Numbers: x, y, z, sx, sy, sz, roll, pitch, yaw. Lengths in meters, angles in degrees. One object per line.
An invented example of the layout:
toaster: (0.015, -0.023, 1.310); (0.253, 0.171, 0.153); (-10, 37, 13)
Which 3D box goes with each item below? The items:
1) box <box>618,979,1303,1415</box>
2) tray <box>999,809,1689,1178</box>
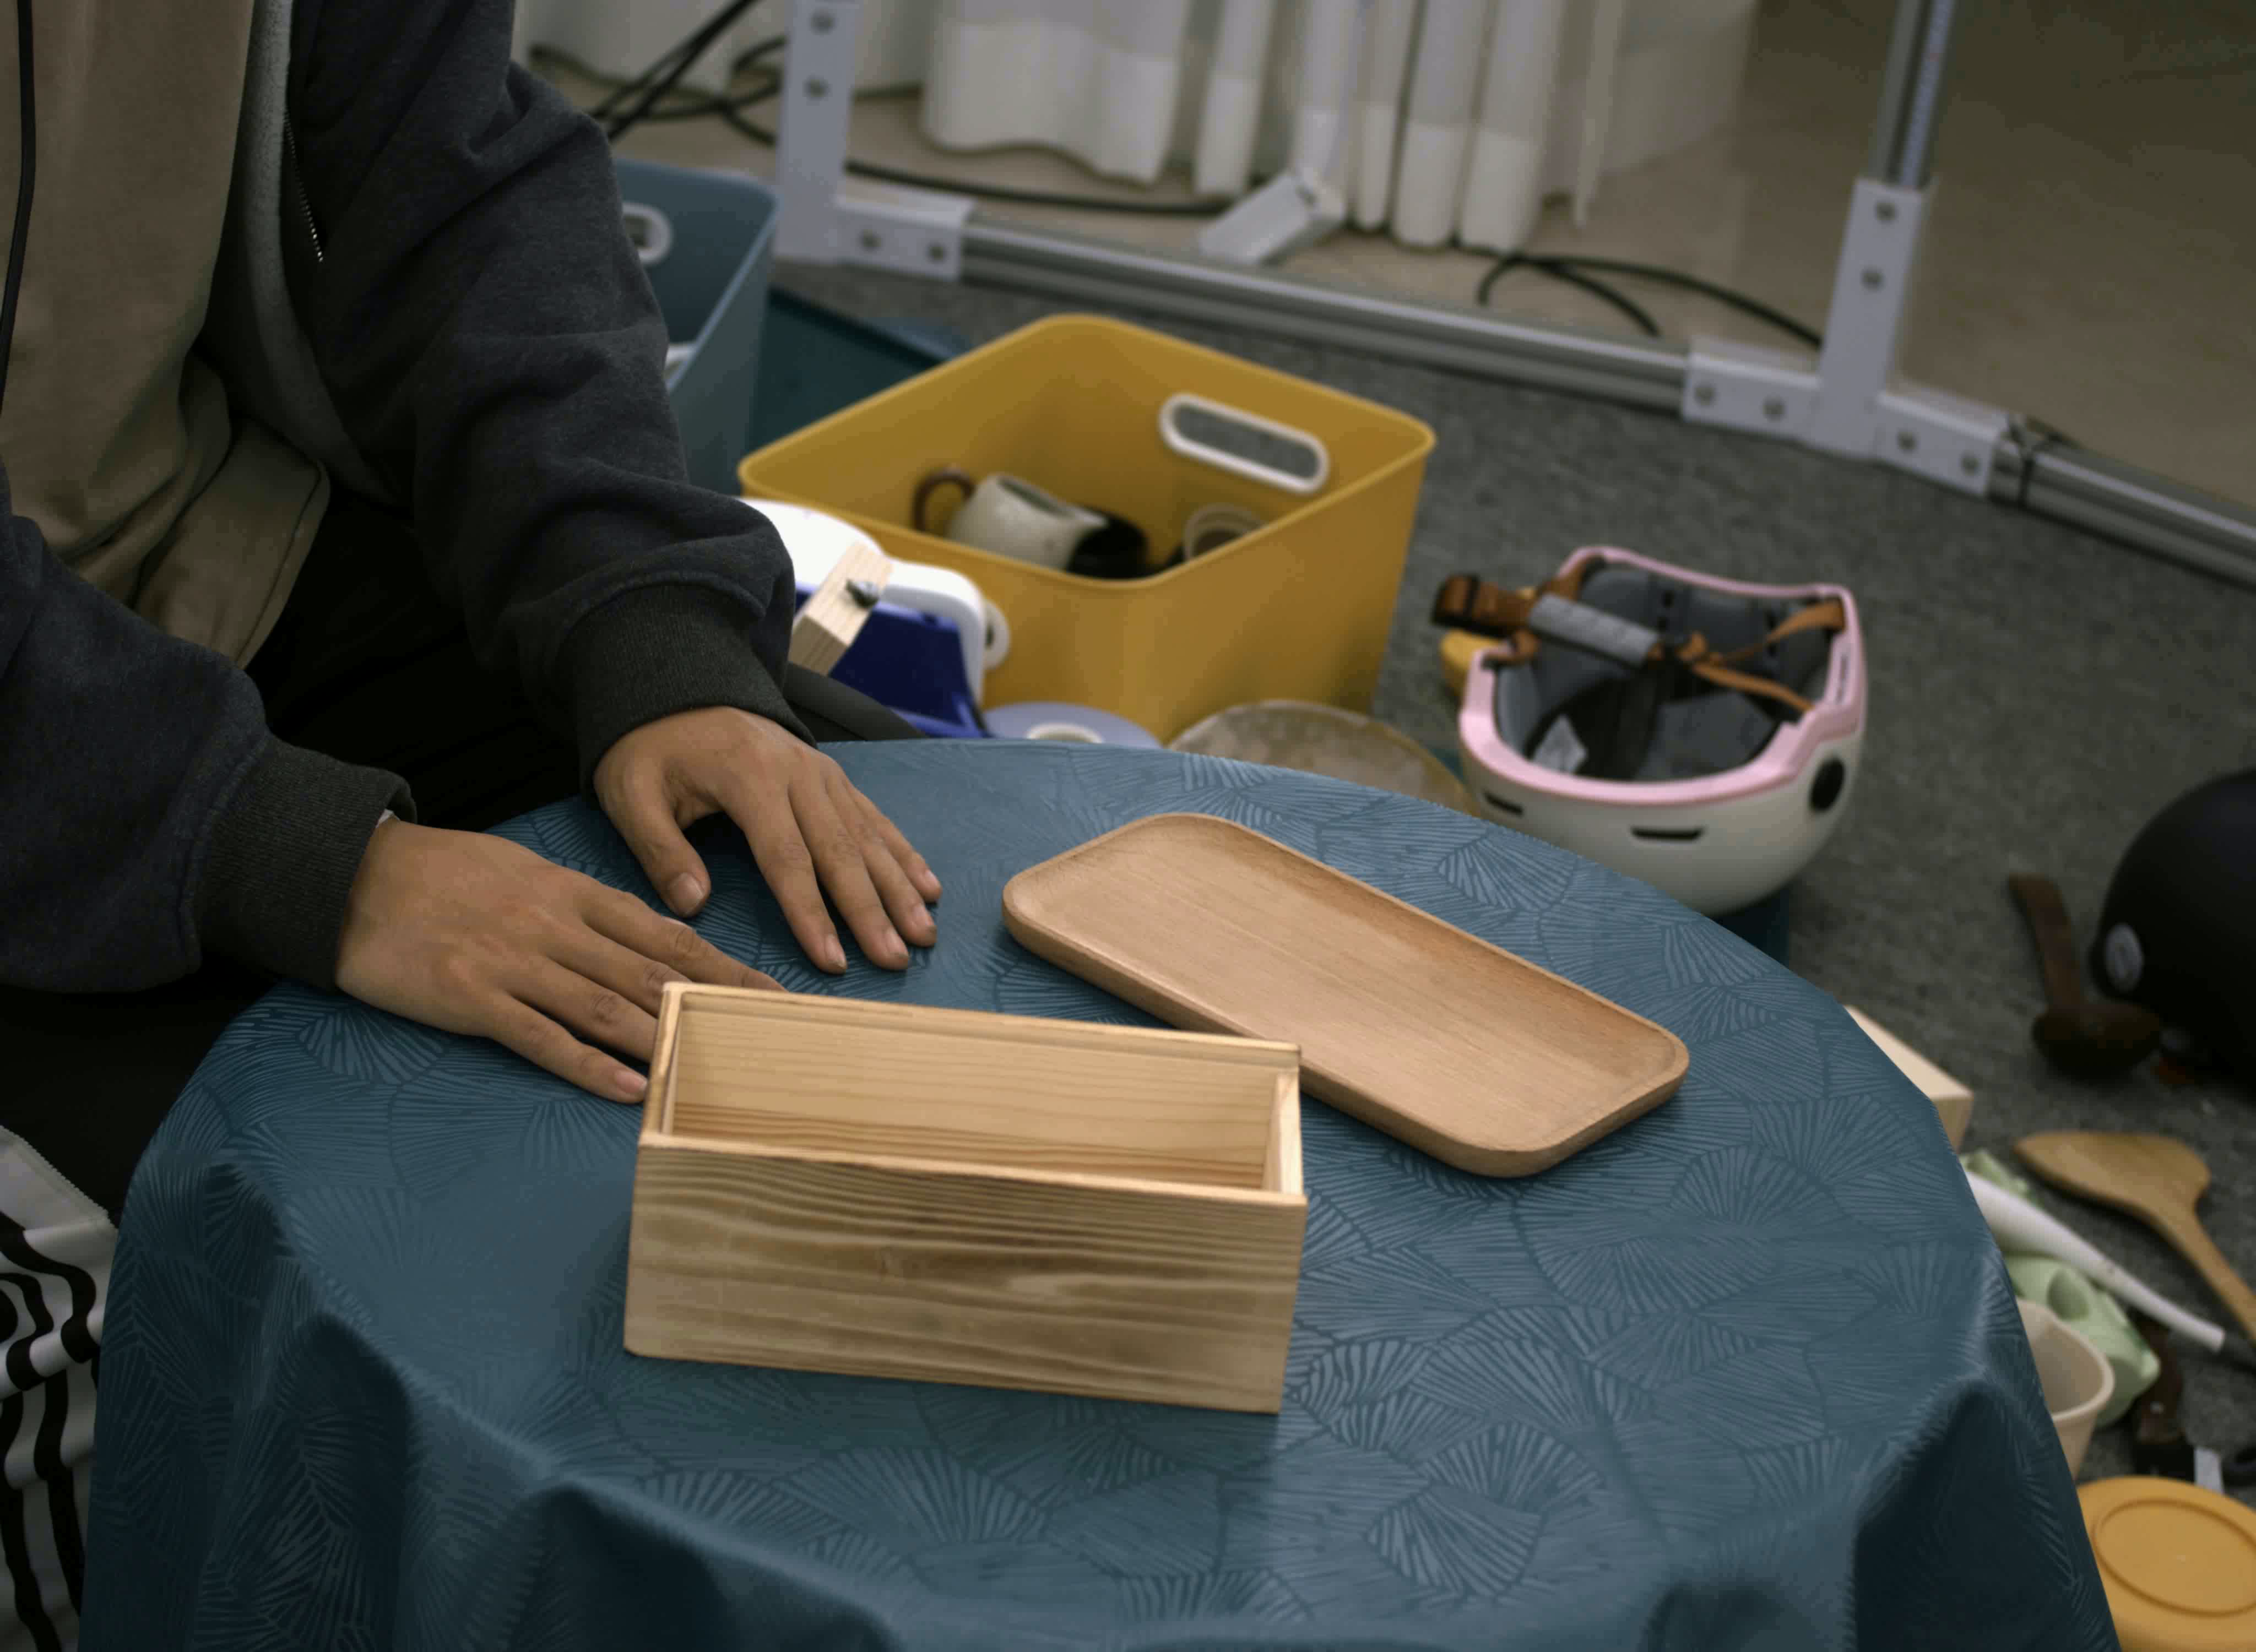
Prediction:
box: (-0.053, 0.119, 1.712); (0.211, 0.080, 0.108); (6, 27, -2)
tray: (0.076, 0.059, 1.927); (0.252, 0.023, 0.130); (26, 30, 34)
